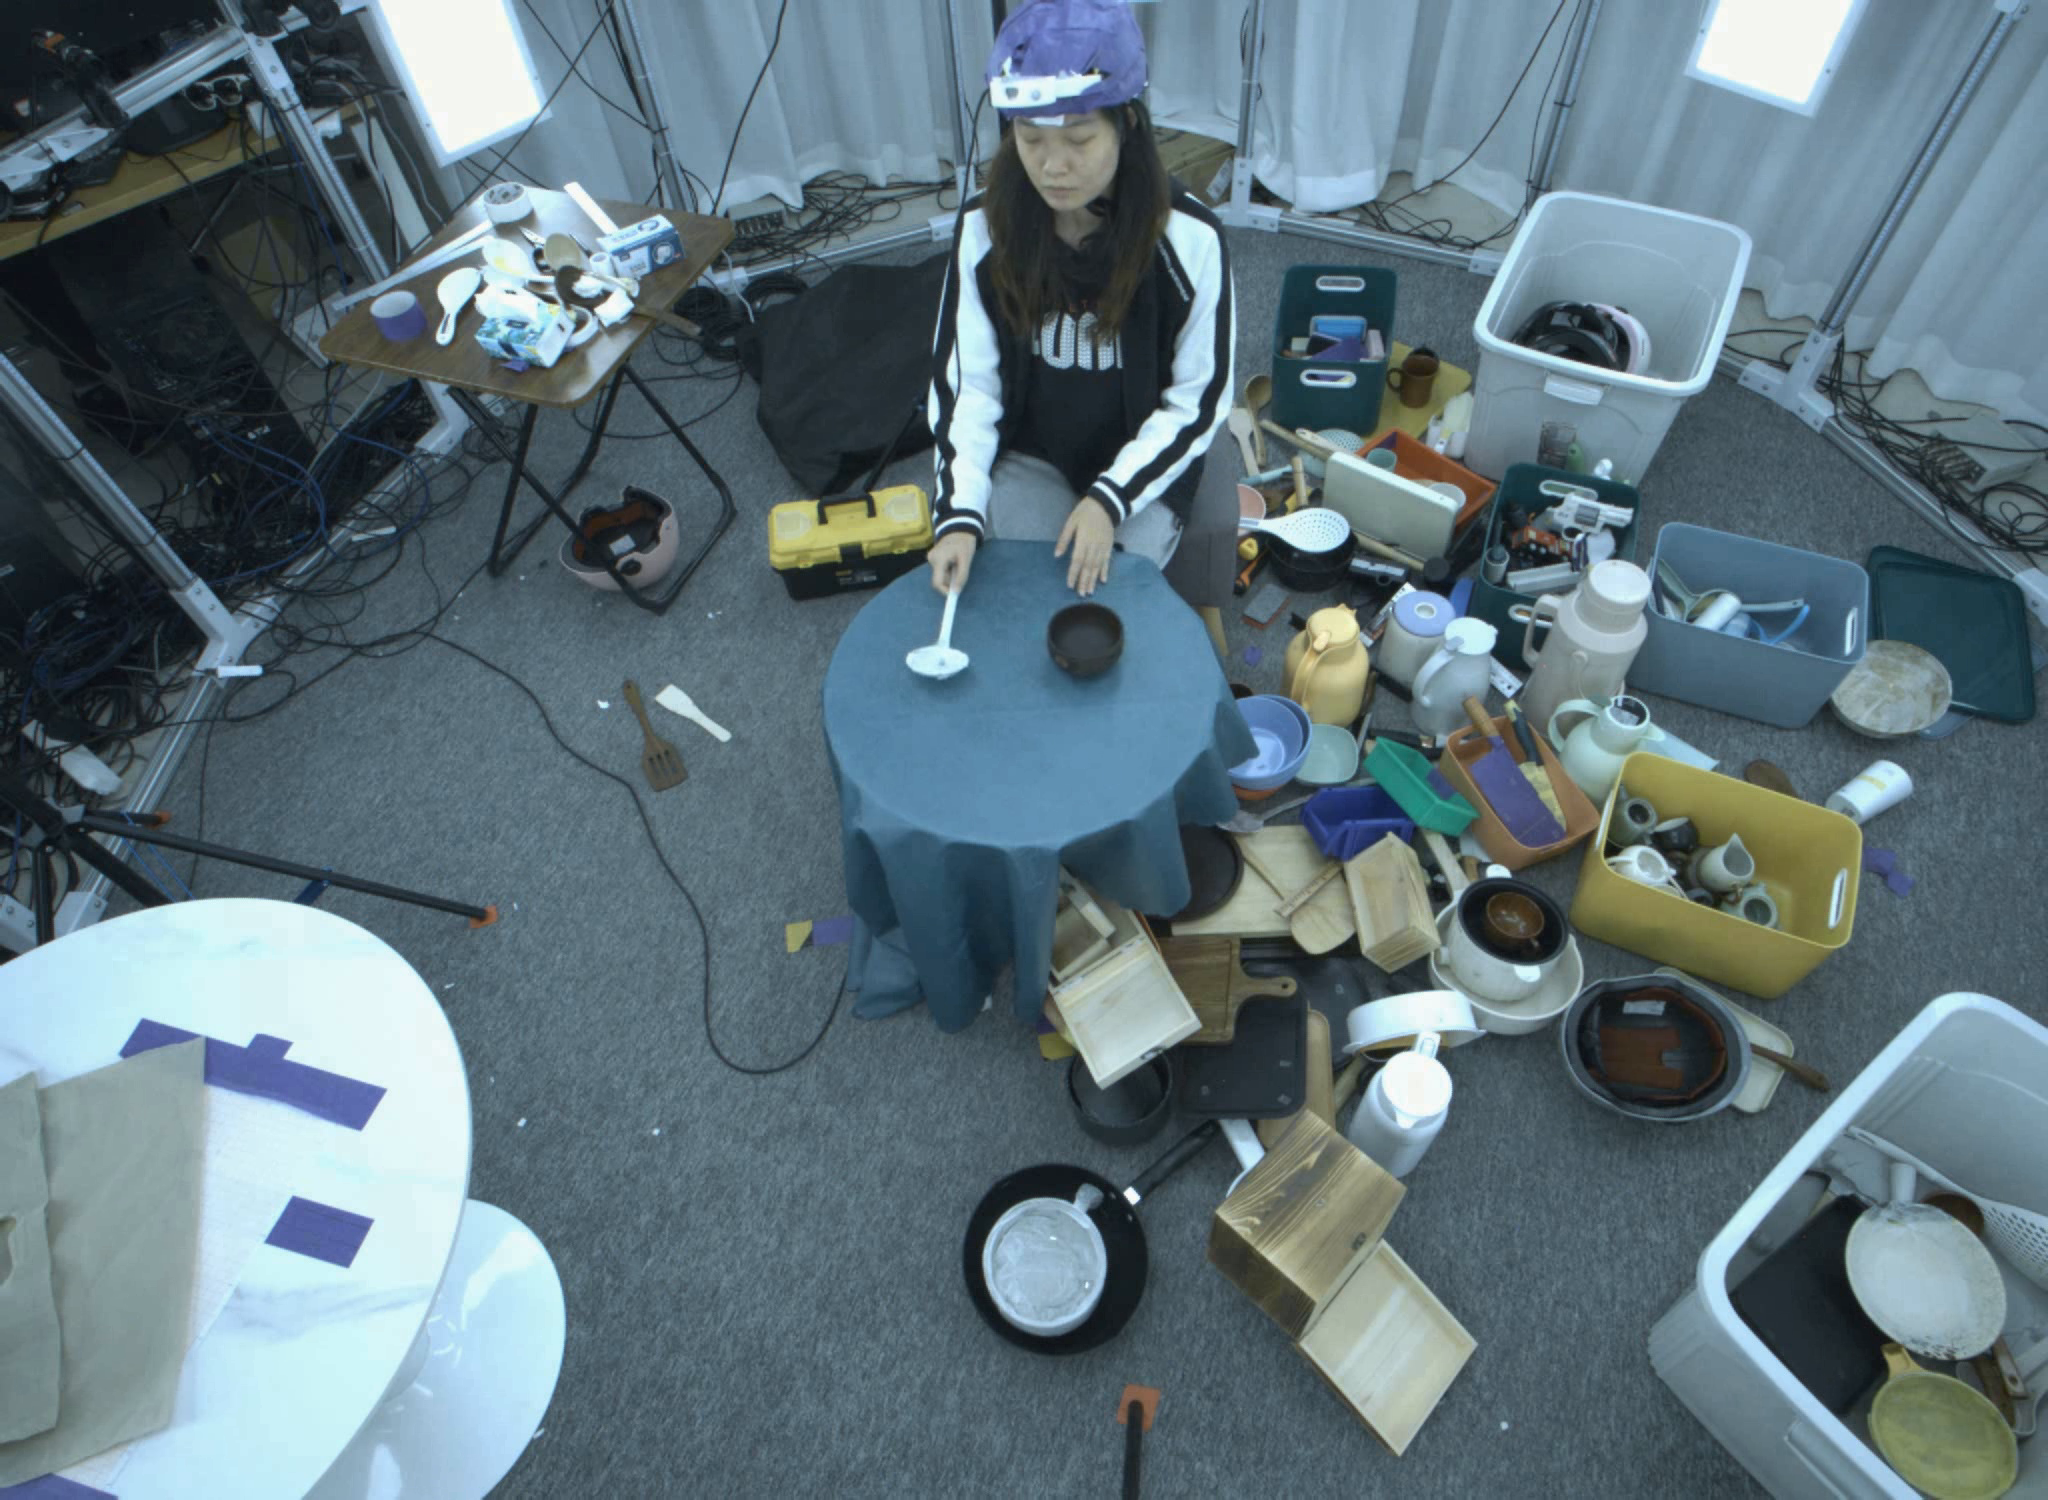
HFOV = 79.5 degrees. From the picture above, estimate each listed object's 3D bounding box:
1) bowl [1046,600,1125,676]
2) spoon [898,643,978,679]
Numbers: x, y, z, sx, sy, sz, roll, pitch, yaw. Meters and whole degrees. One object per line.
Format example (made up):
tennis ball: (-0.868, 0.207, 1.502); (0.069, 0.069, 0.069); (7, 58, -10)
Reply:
bowl: (0.092, -0.160, 1.853); (0.118, 0.070, 0.117); (0, 55, 2)
spoon: (-0.157, -0.135, 1.939); (0.102, 0.273, 0.059); (-4, 92, -23)
